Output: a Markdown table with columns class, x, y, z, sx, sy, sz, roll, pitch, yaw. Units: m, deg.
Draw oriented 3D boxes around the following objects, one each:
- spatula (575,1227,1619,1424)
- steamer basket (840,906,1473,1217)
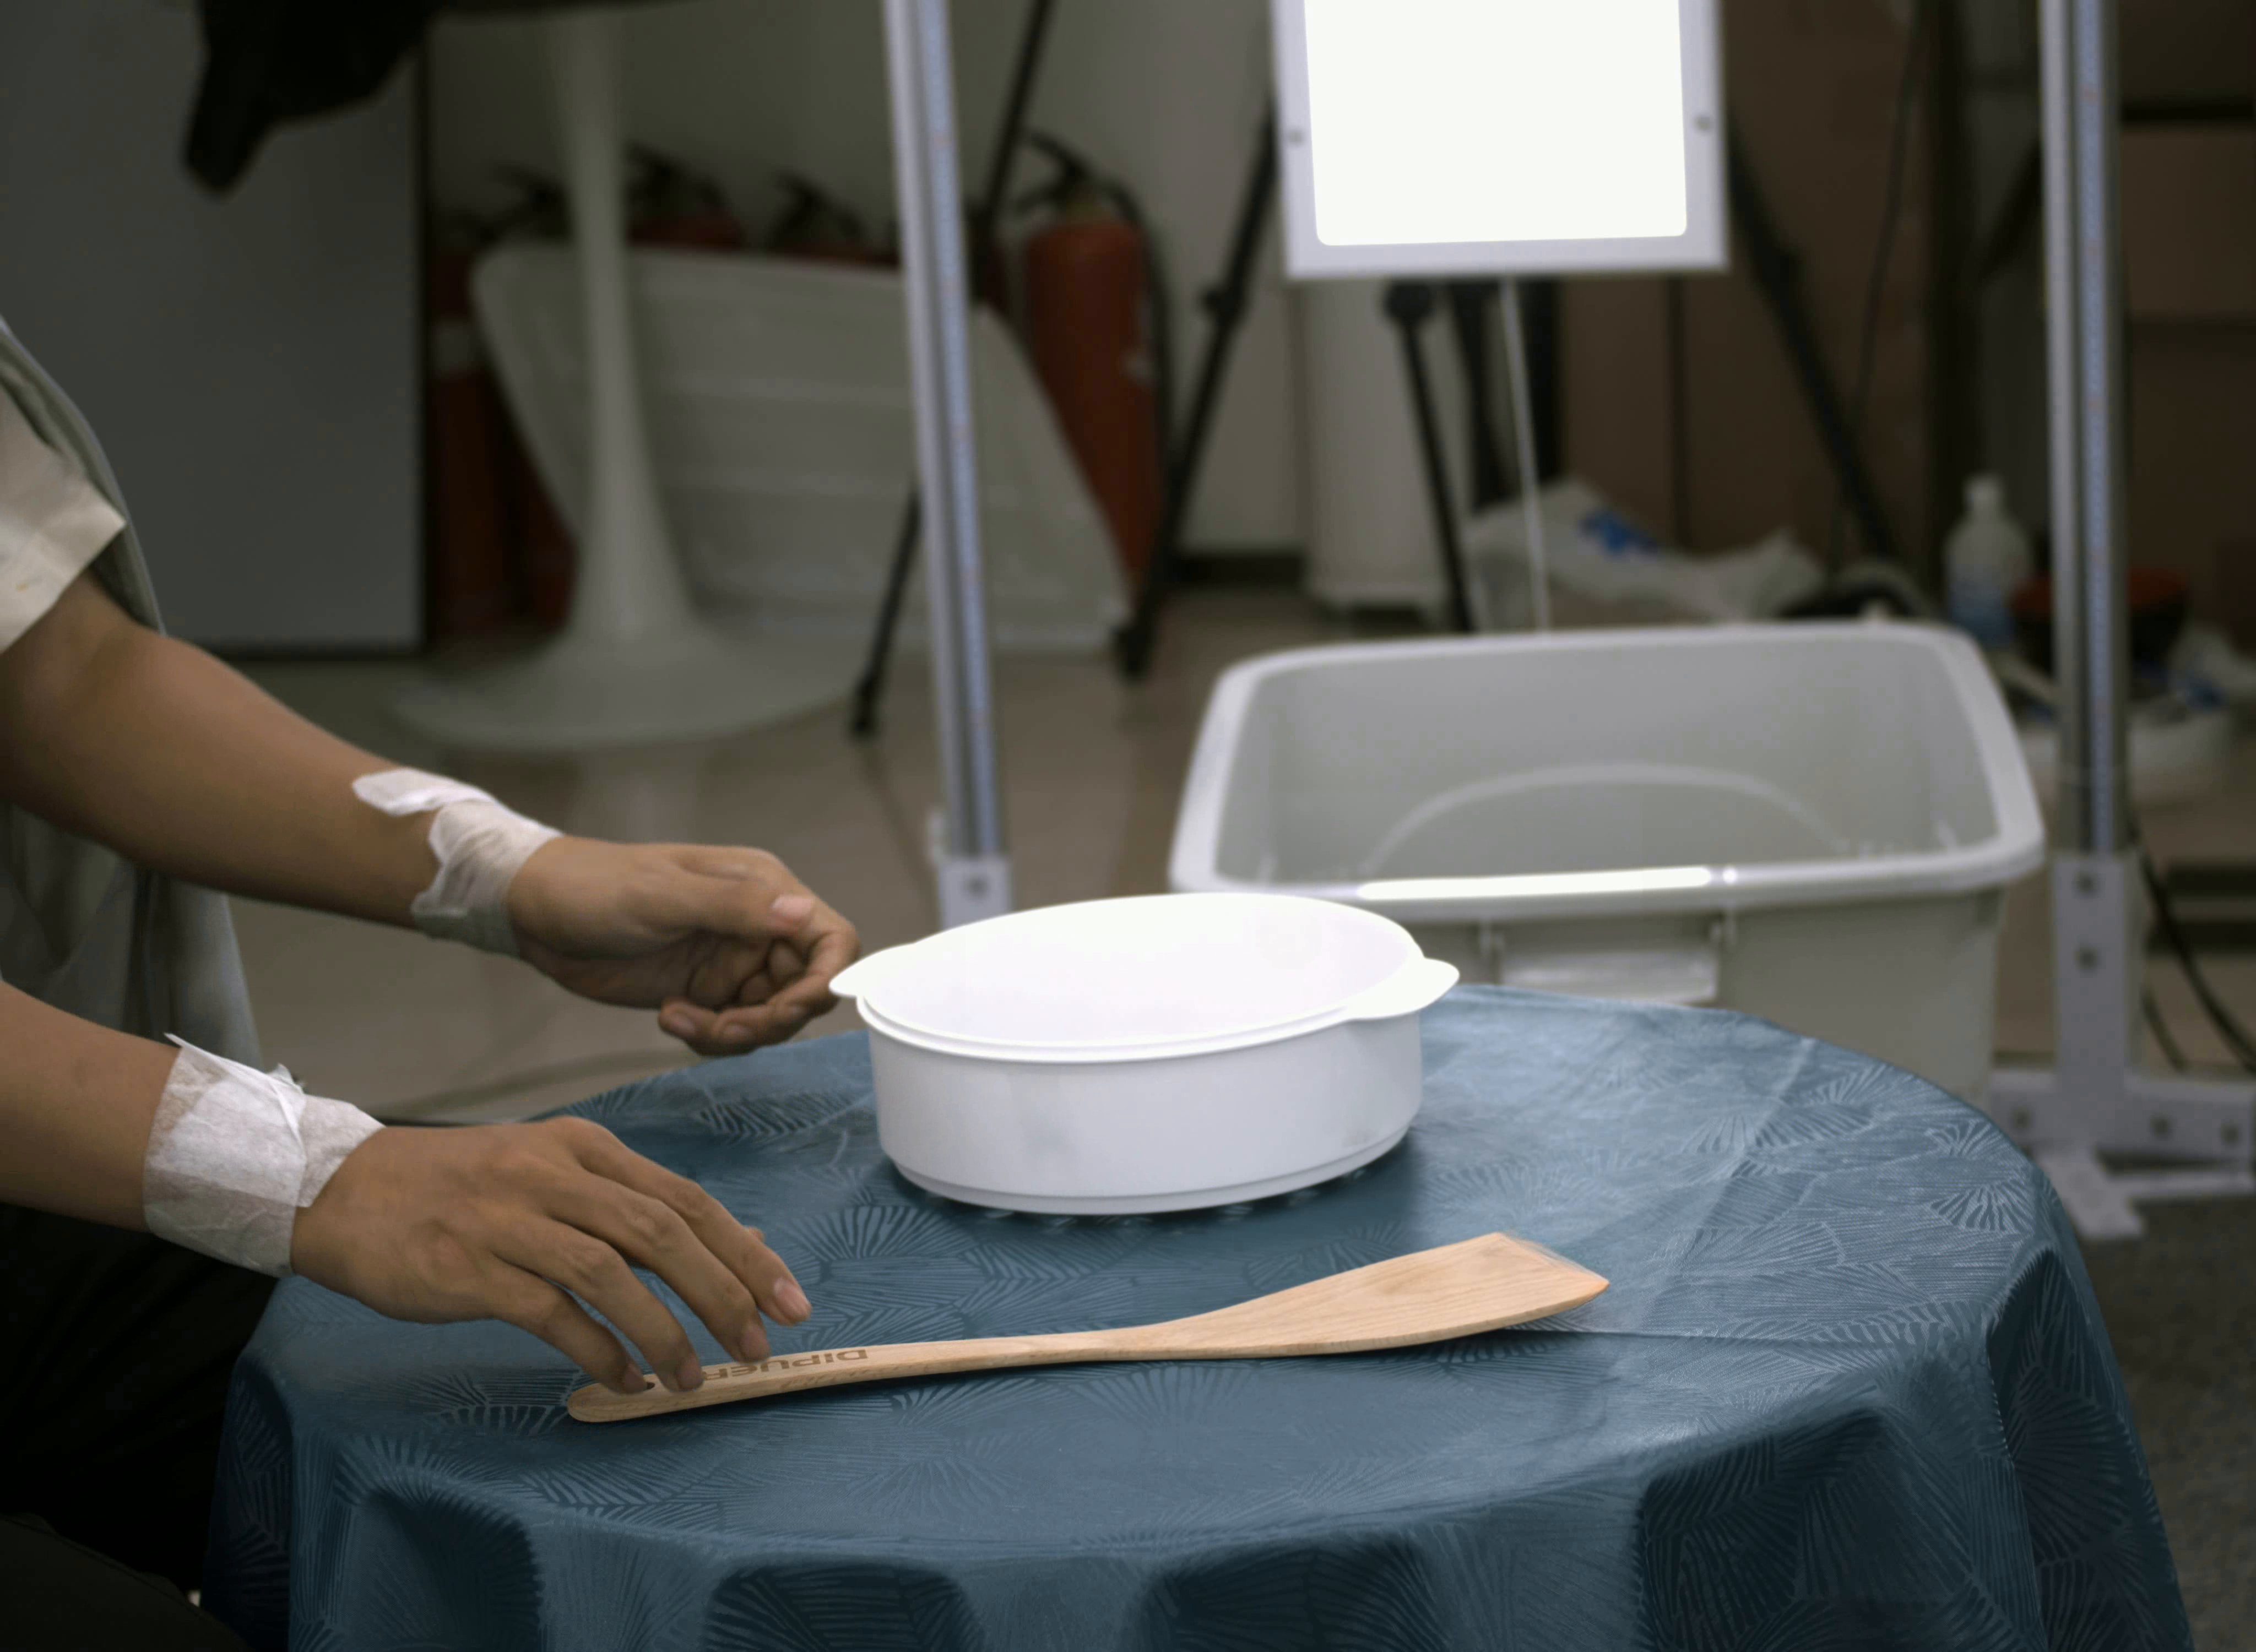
| class | x | y | z | sx | sy | sz | roll | pitch | yaw |
| --- | --- | --- | --- | --- | --- | --- | --- | --- | --- |
| spatula | -0.011 | 0.159 | 1.731 | 0.325 | 0.016 | 0.080 | -6 | 13 | -4 |
| steamer basket | 0.011 | 0.082 | 1.937 | 0.234 | 0.069 | 0.198 | 1 | 13 | 26 |
